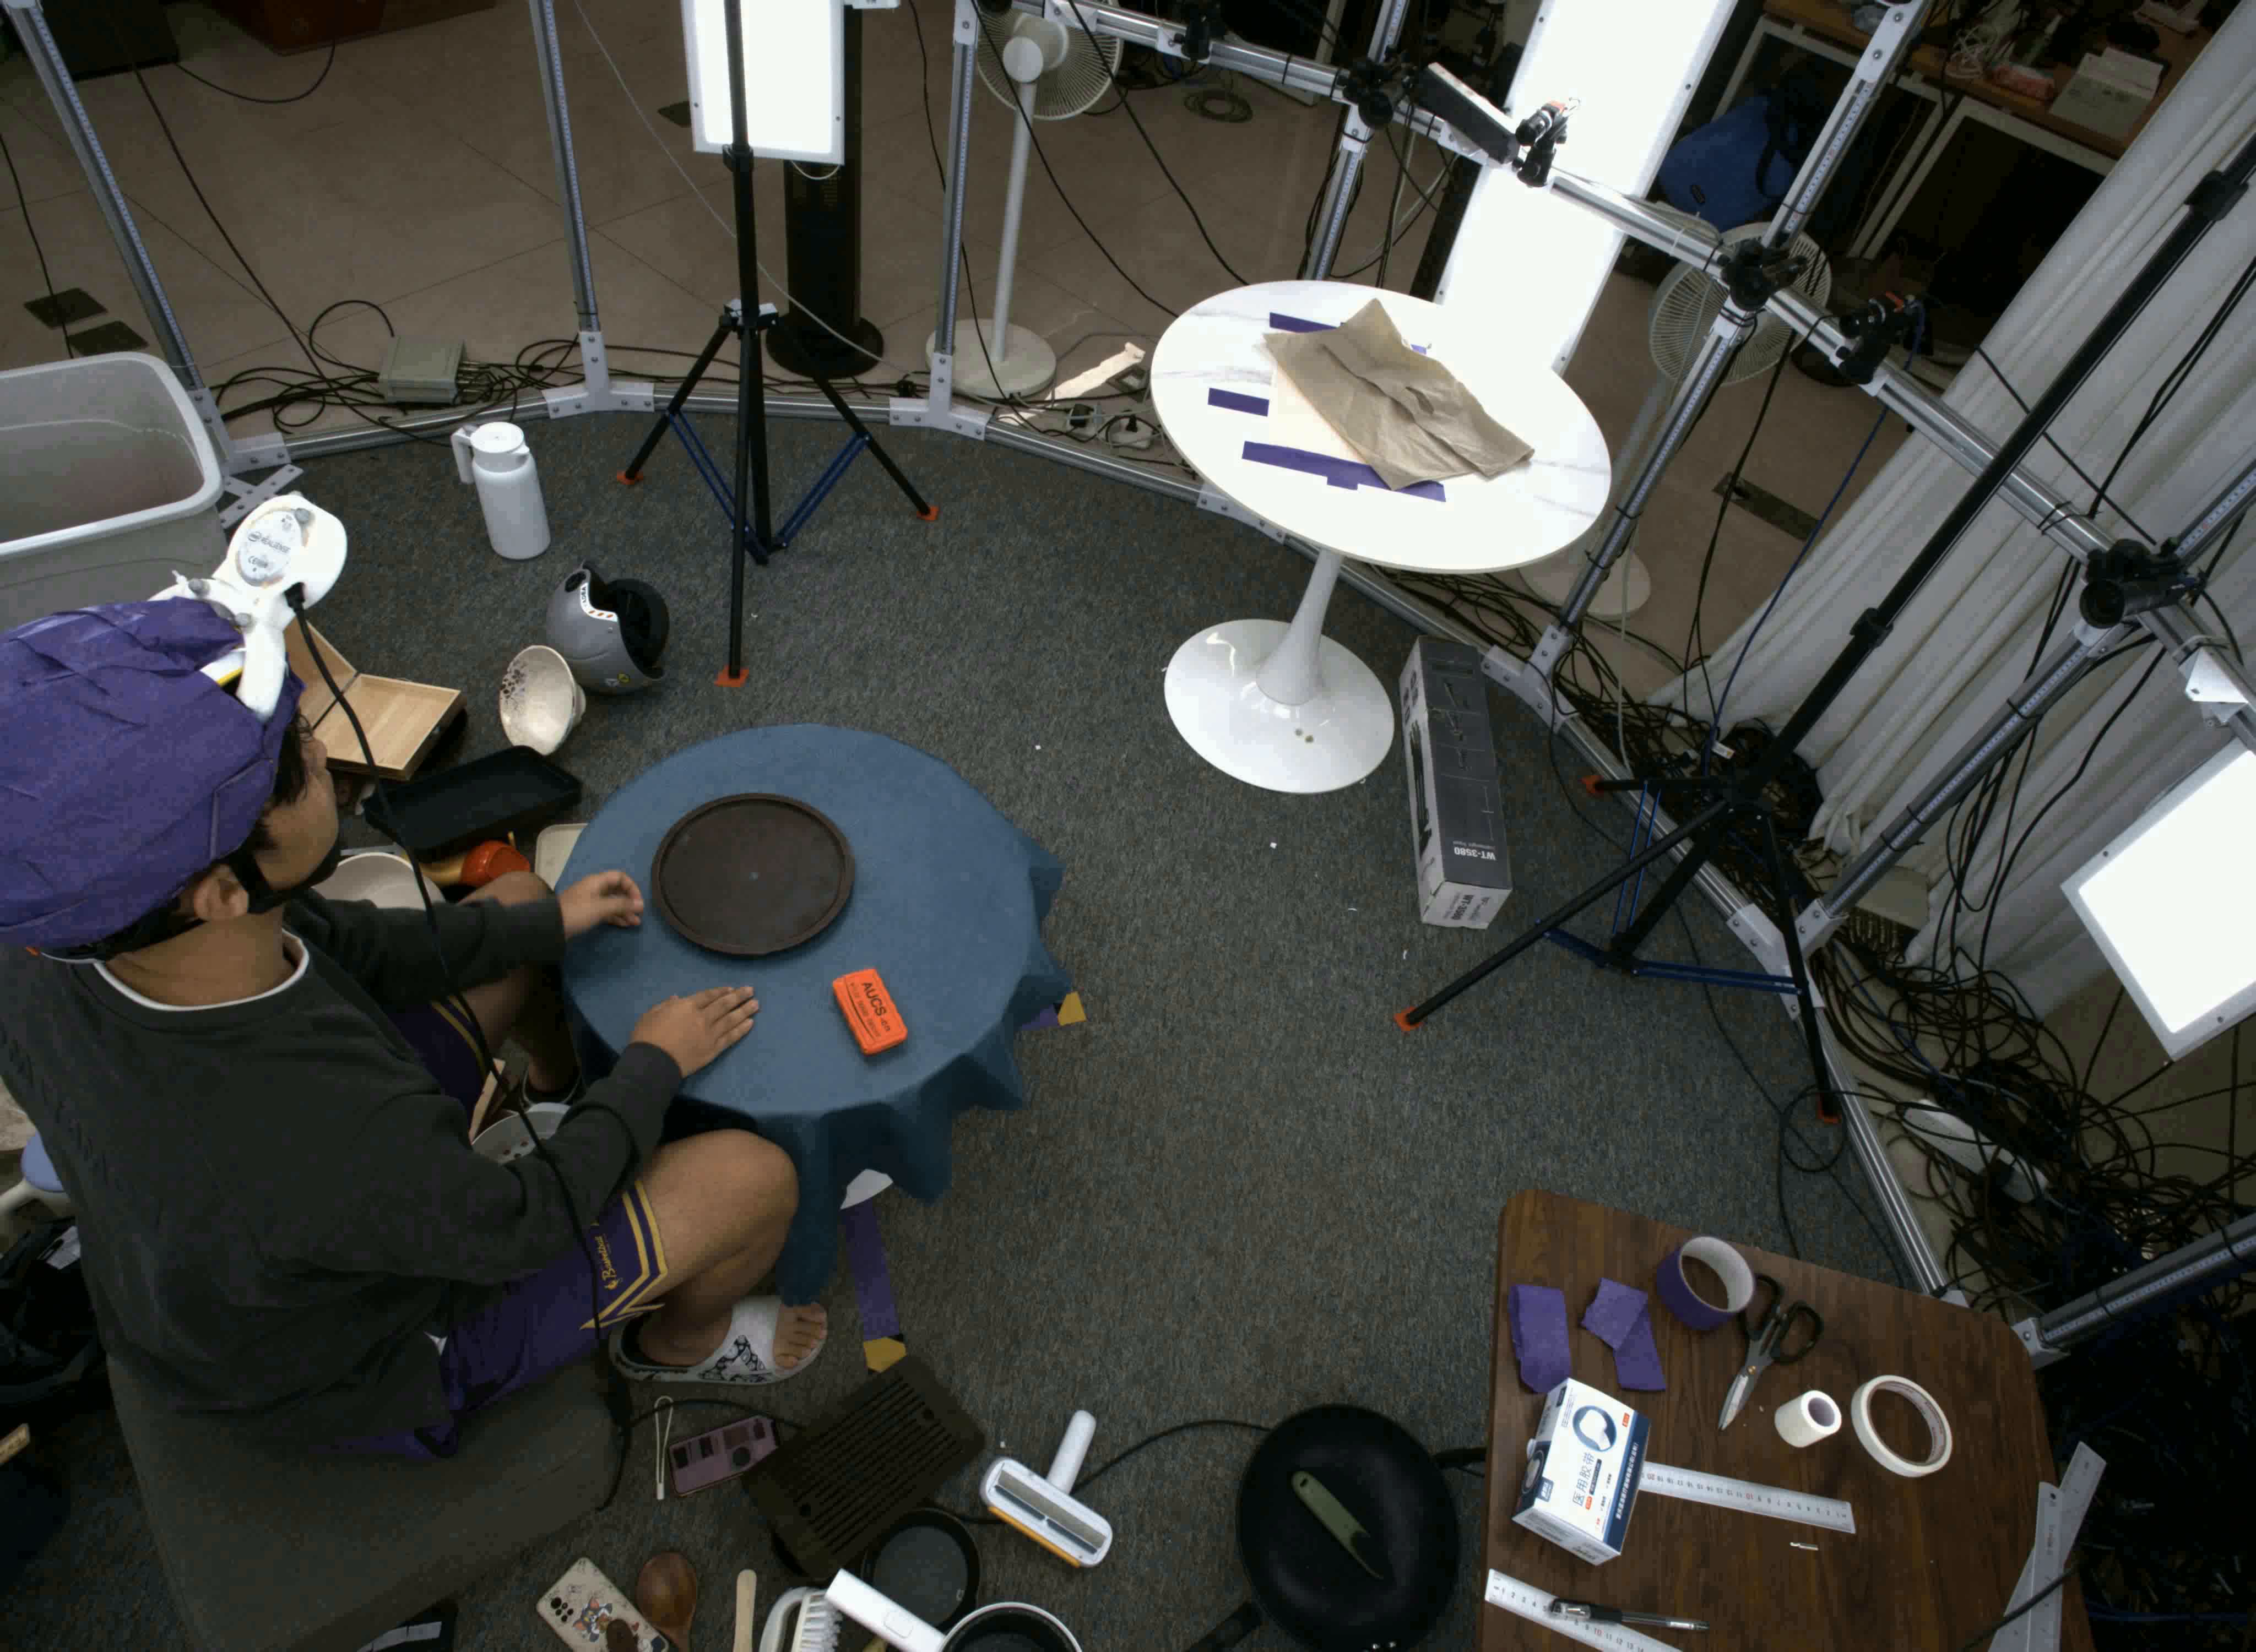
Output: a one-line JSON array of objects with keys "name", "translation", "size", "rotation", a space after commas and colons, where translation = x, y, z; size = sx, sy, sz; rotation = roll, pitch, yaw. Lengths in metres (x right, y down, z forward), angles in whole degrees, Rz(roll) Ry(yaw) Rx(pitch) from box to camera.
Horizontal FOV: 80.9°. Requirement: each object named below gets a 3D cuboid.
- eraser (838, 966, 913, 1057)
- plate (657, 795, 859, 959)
[{"name": "eraser", "translation": [-0.306, 0.221, 1.575], "size": [0.059, 0.023, 0.105], "rotation": [-21, 63, -26]}, {"name": "plate", "translation": [-0.472, 0.062, 1.656], "size": [0.254, 0.029, 0.250], "rotation": [9, 53, -10]}]
